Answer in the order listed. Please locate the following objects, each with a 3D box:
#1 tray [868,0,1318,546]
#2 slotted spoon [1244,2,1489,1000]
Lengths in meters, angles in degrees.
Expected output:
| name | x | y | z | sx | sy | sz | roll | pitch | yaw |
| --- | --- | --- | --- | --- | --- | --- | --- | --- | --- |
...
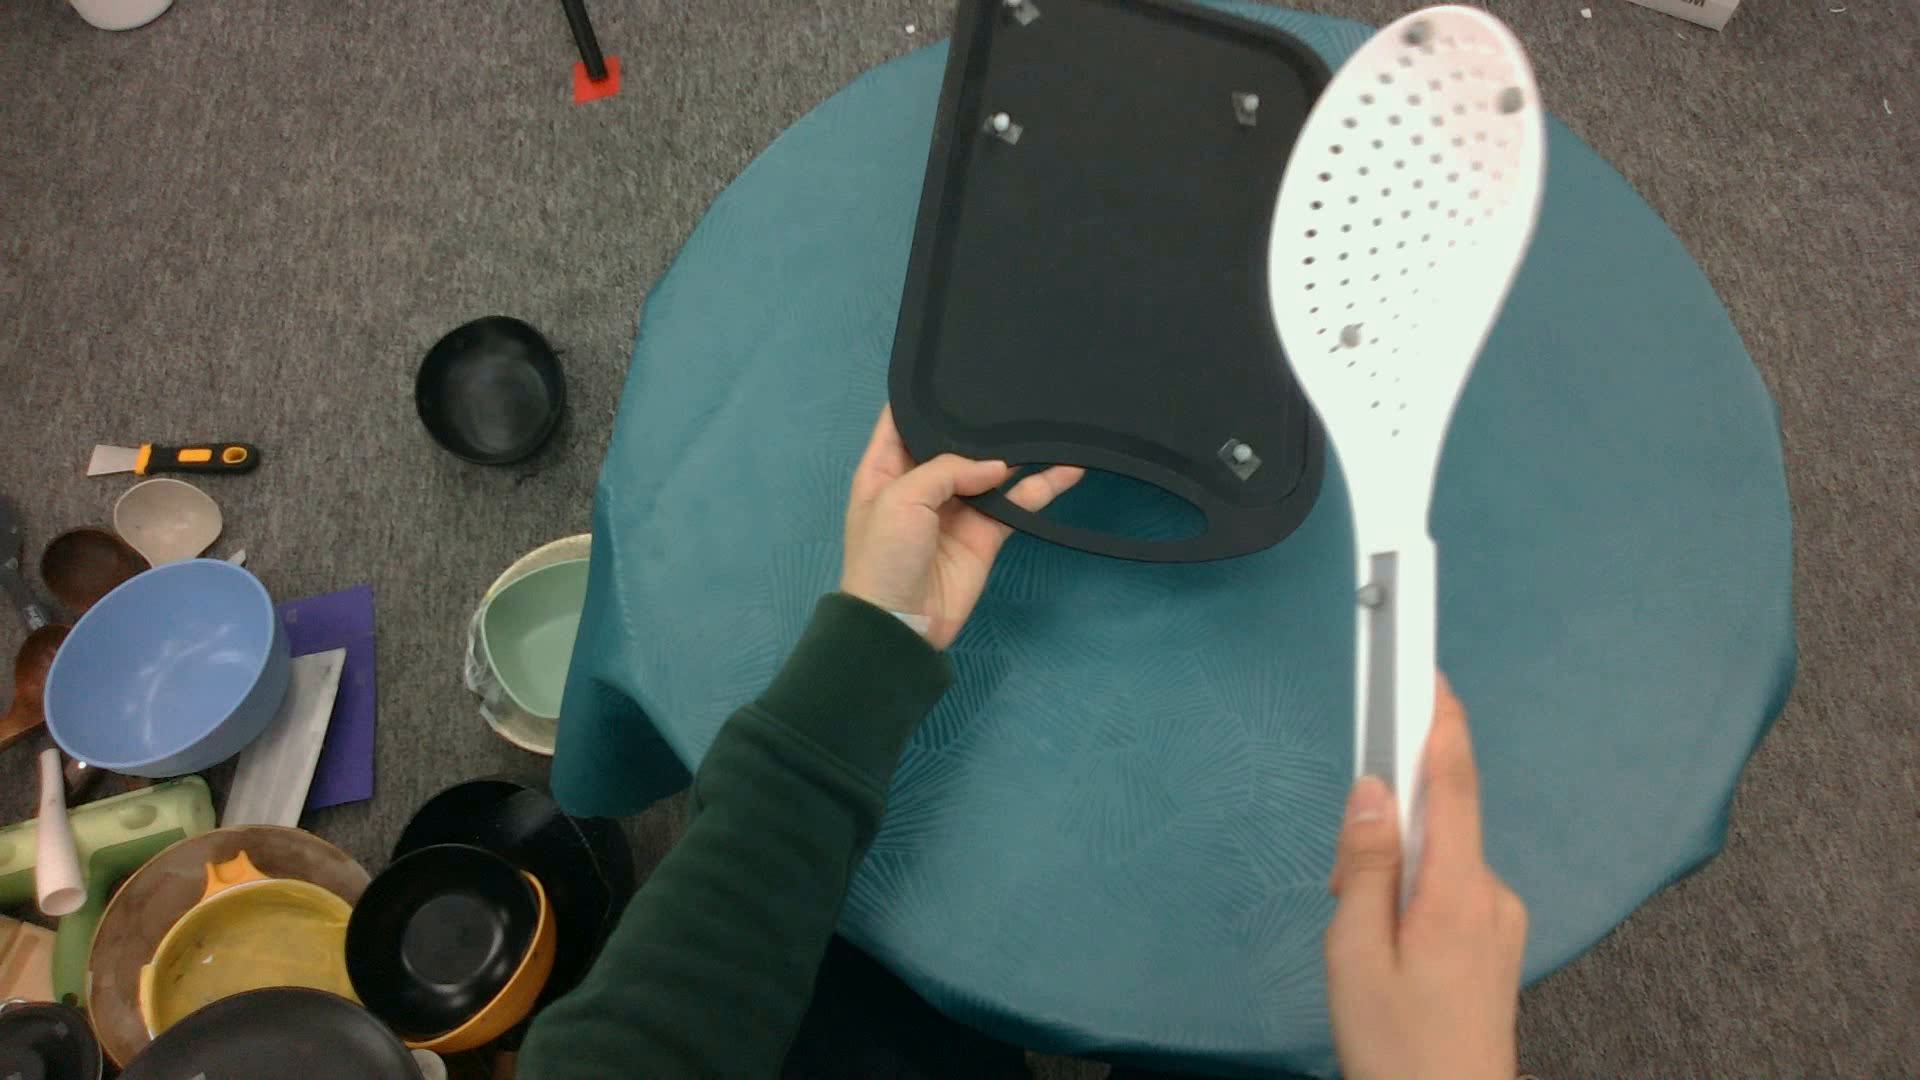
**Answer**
| name | x | y | z | sx | sy | sz | roll | pitch | yaw |
| --- | --- | --- | --- | --- | --- | --- | --- | --- | --- |
| tray | 0.074 | -0.151 | 0.665 | 0.211 | 0.010 | 0.326 | 12 | 68 | -9 |
| slotted spoon | 0.146 | -0.018 | 0.492 | 0.046 | 0.135 | 0.350 | 8 | 81 | -20 |
